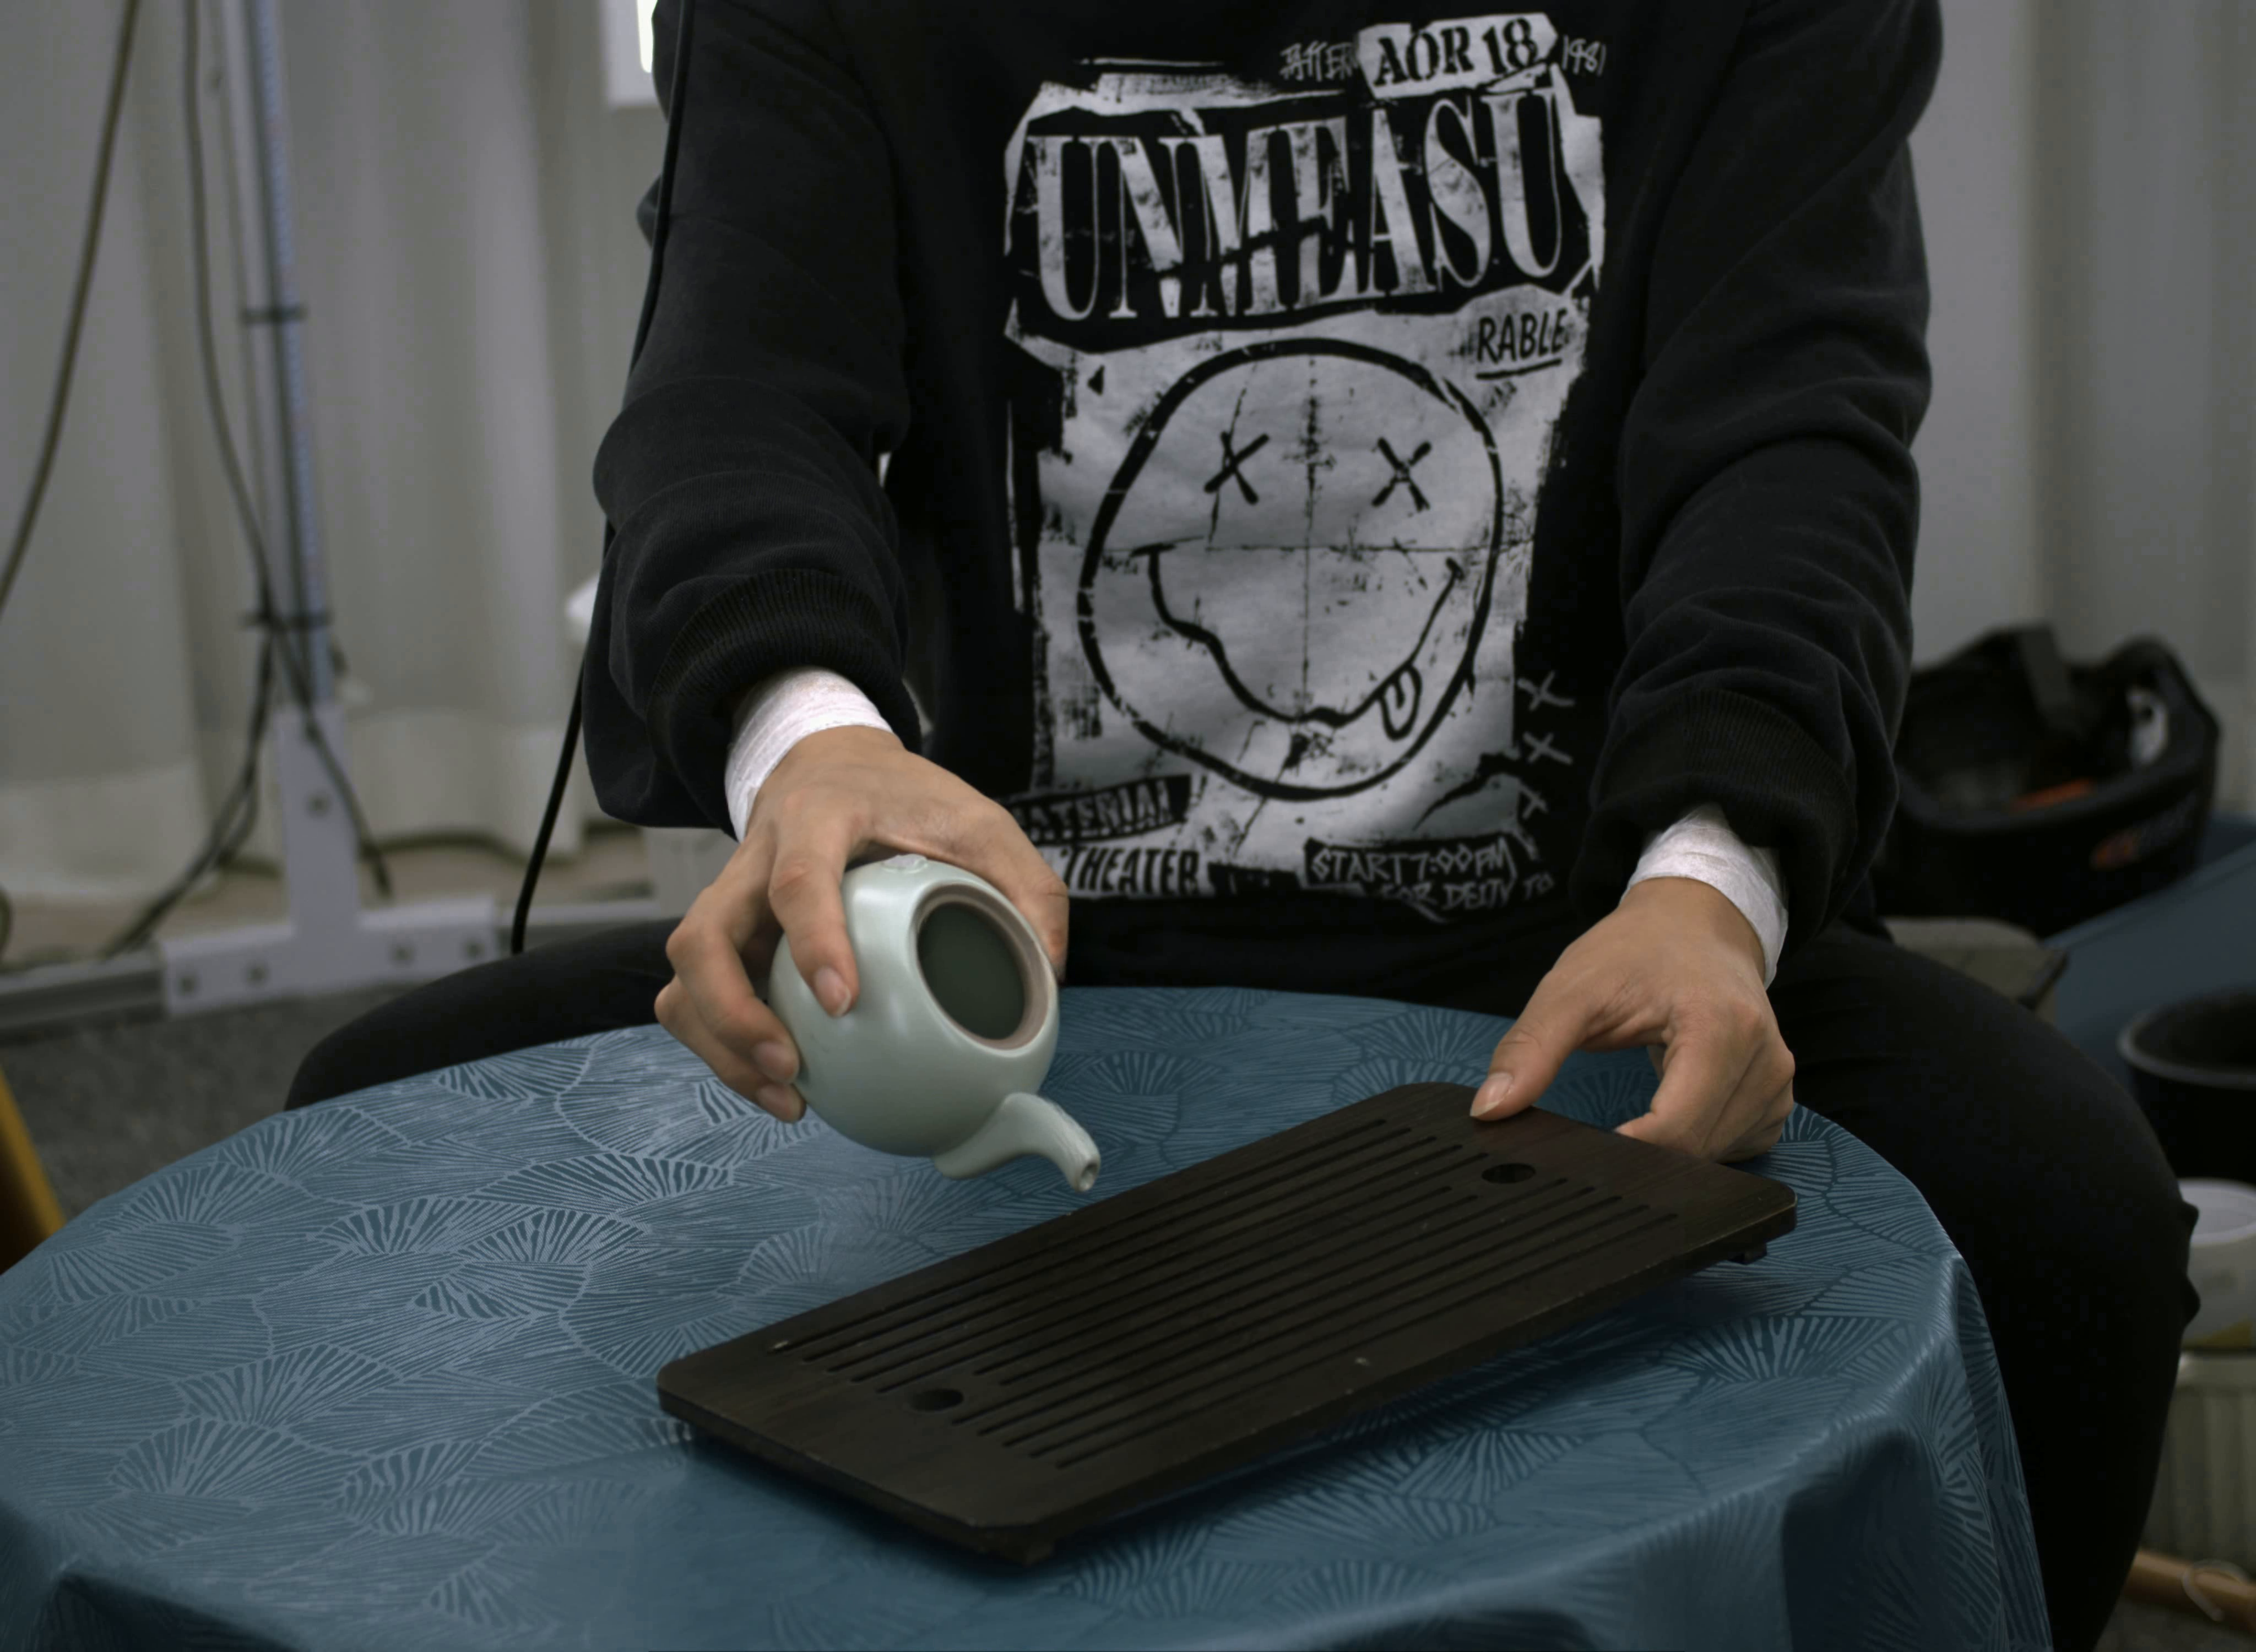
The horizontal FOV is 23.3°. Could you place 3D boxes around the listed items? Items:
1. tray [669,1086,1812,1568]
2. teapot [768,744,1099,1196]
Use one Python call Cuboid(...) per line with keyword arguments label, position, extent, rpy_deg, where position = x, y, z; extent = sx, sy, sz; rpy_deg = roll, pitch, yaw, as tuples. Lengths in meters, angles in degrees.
Cuboid(label="tray", position=(0.035, 0.139, 1.555), extent=(0.305, 0.018, 0.171), rpy_deg=(-17, 20, -36))
Cuboid(label="teapot", position=(-0.062, 0.052, 1.597), extent=(0.074, 0.144, 0.088), rpy_deg=(-28, -9, 37))
